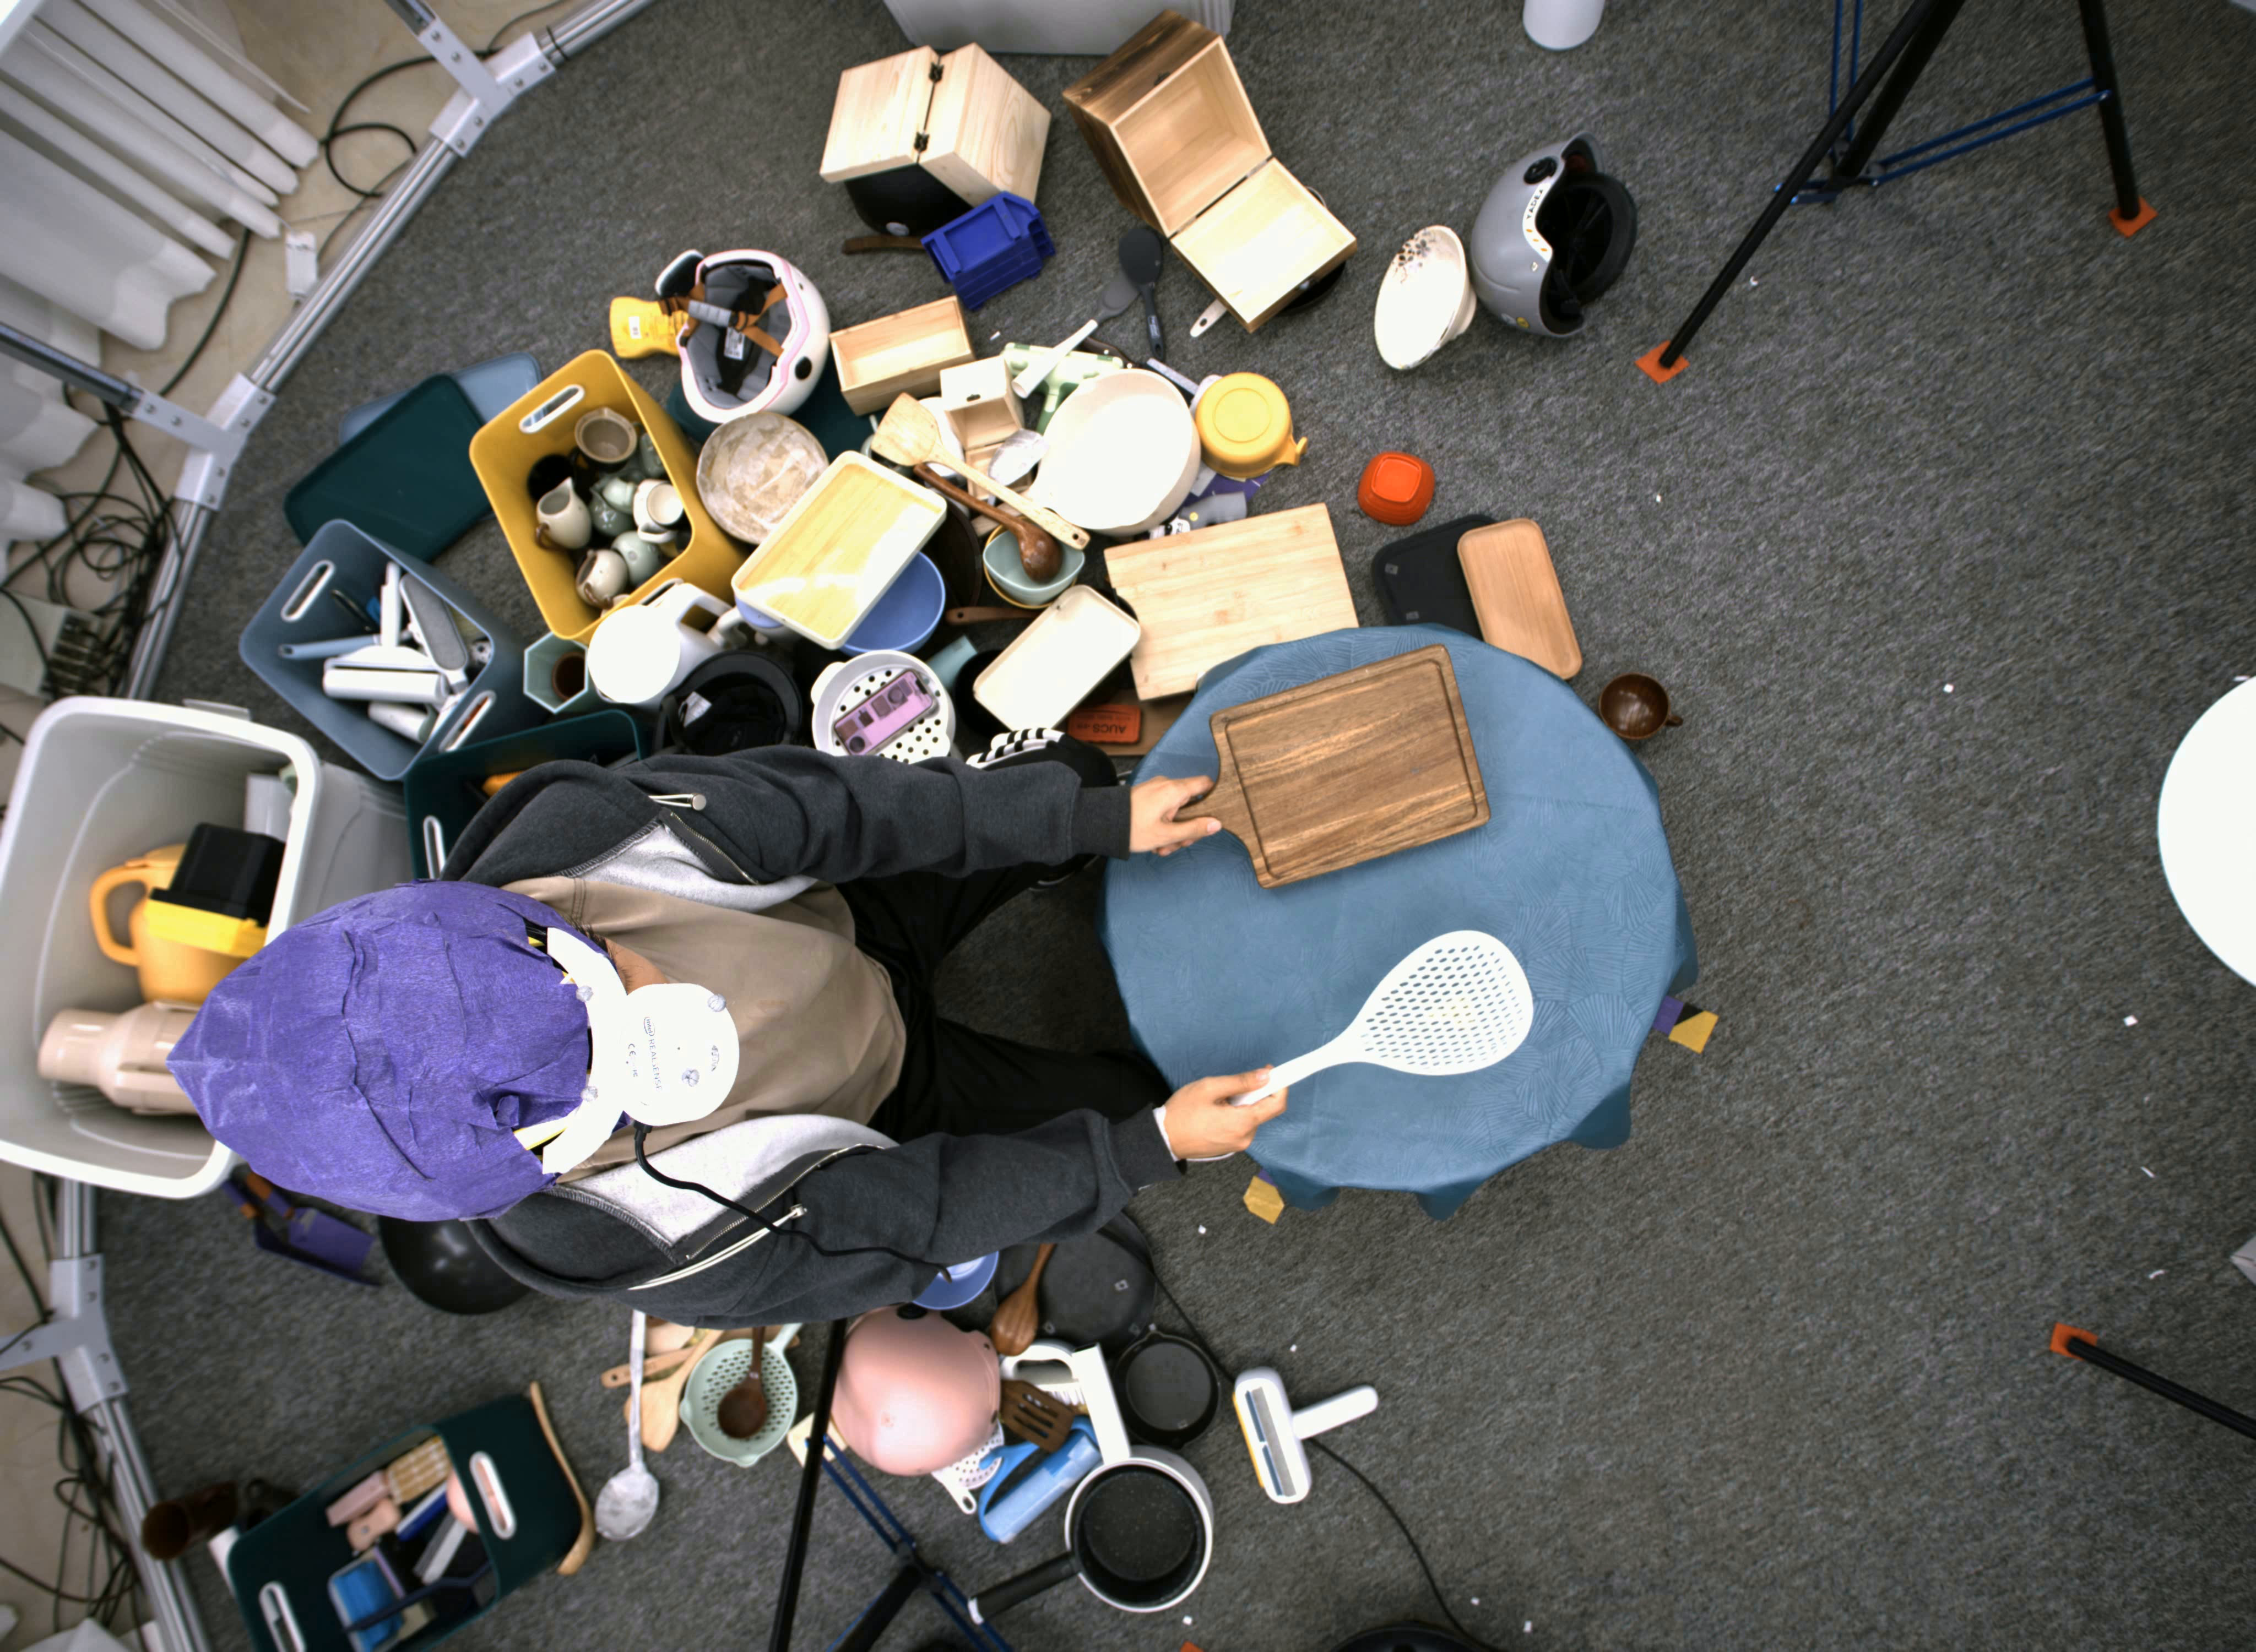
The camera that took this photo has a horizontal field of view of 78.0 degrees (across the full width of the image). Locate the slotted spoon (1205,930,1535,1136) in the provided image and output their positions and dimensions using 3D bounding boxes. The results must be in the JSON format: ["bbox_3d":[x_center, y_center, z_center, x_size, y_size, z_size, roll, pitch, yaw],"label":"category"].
[{"bbox_3d":[0.224,0.216,1.343,0.350,0.051,0.134,-25,64,11],"label":"slotted spoon"}]

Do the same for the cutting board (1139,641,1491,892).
[{"bbox_3d":[0.180,-0.045,1.417,0.354,0.023,0.203,-17,105,6],"label":"cutting board"}]
